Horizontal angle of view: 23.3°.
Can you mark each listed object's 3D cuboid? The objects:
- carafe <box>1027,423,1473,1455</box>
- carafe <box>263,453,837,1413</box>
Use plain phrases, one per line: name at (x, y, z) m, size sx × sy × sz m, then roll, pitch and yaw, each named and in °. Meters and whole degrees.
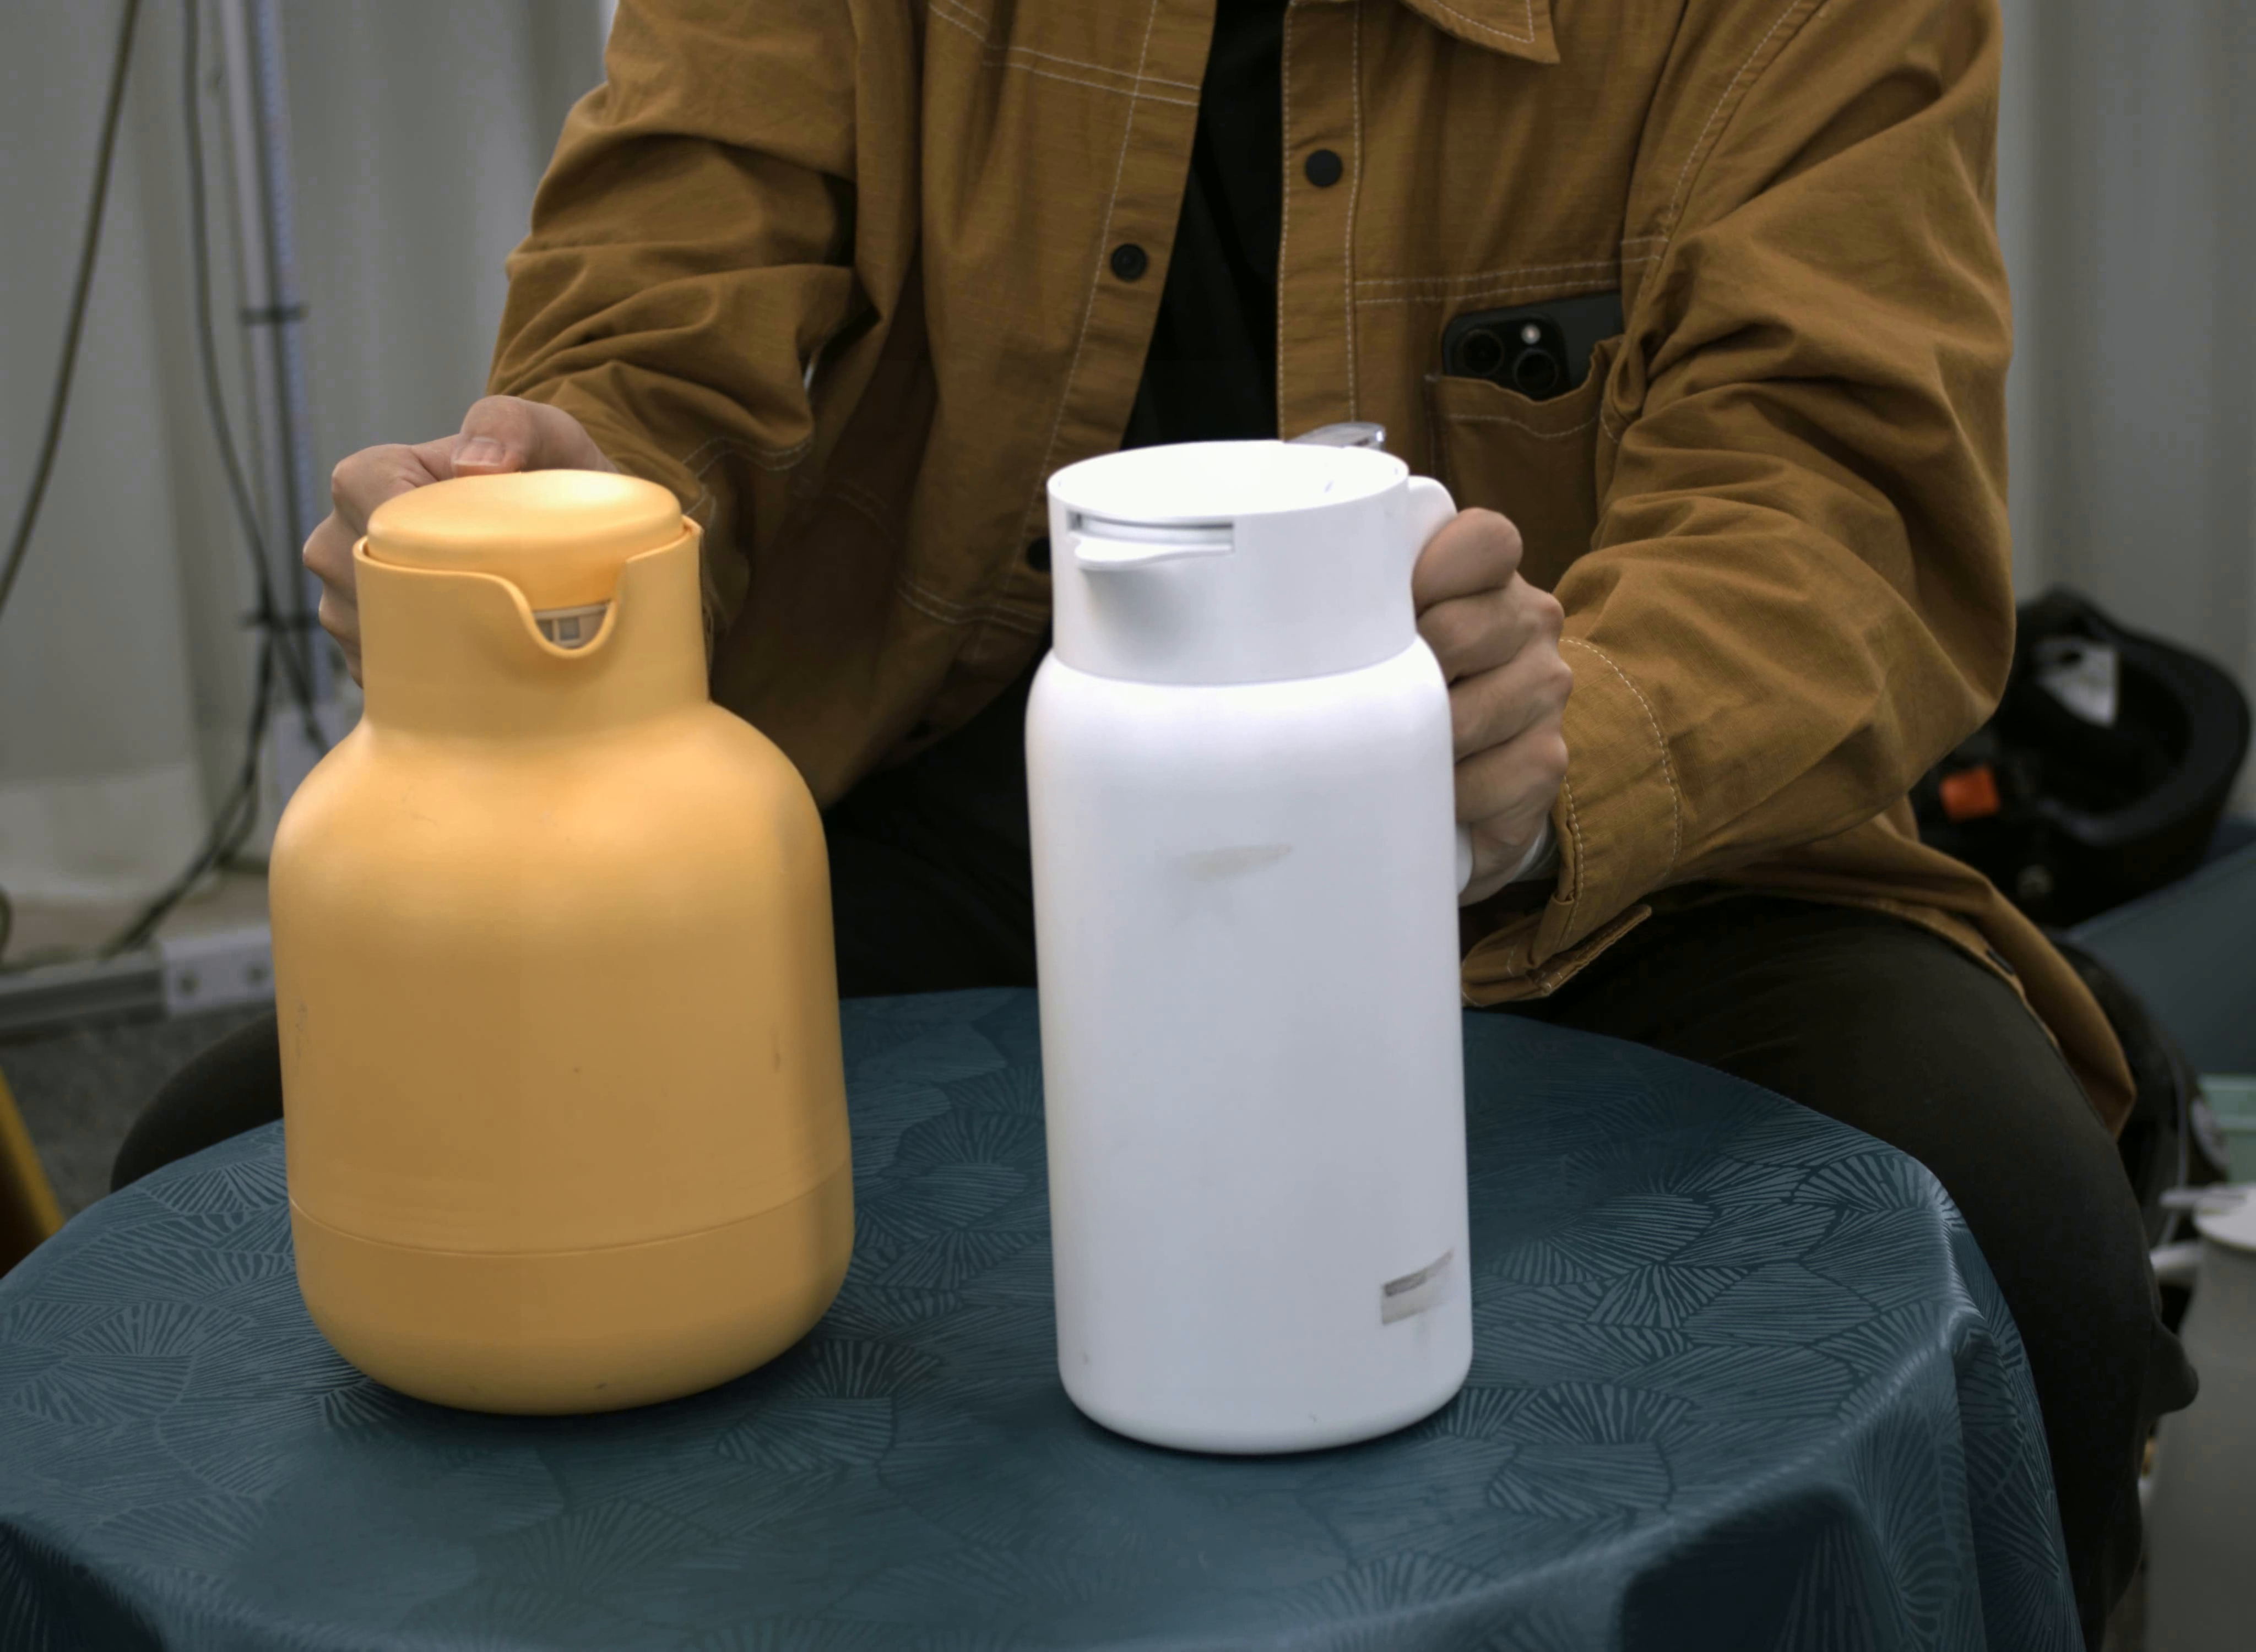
carafe at (0.041, 0.027, 1.522) m, size 0.124 × 0.268 × 0.173 m, roll 4°, pitch 15°, yaw 32°
carafe at (-0.169, 0.022, 1.587) m, size 0.162 × 0.259 × 0.204 m, roll -3°, pitch 15°, yaw -13°
